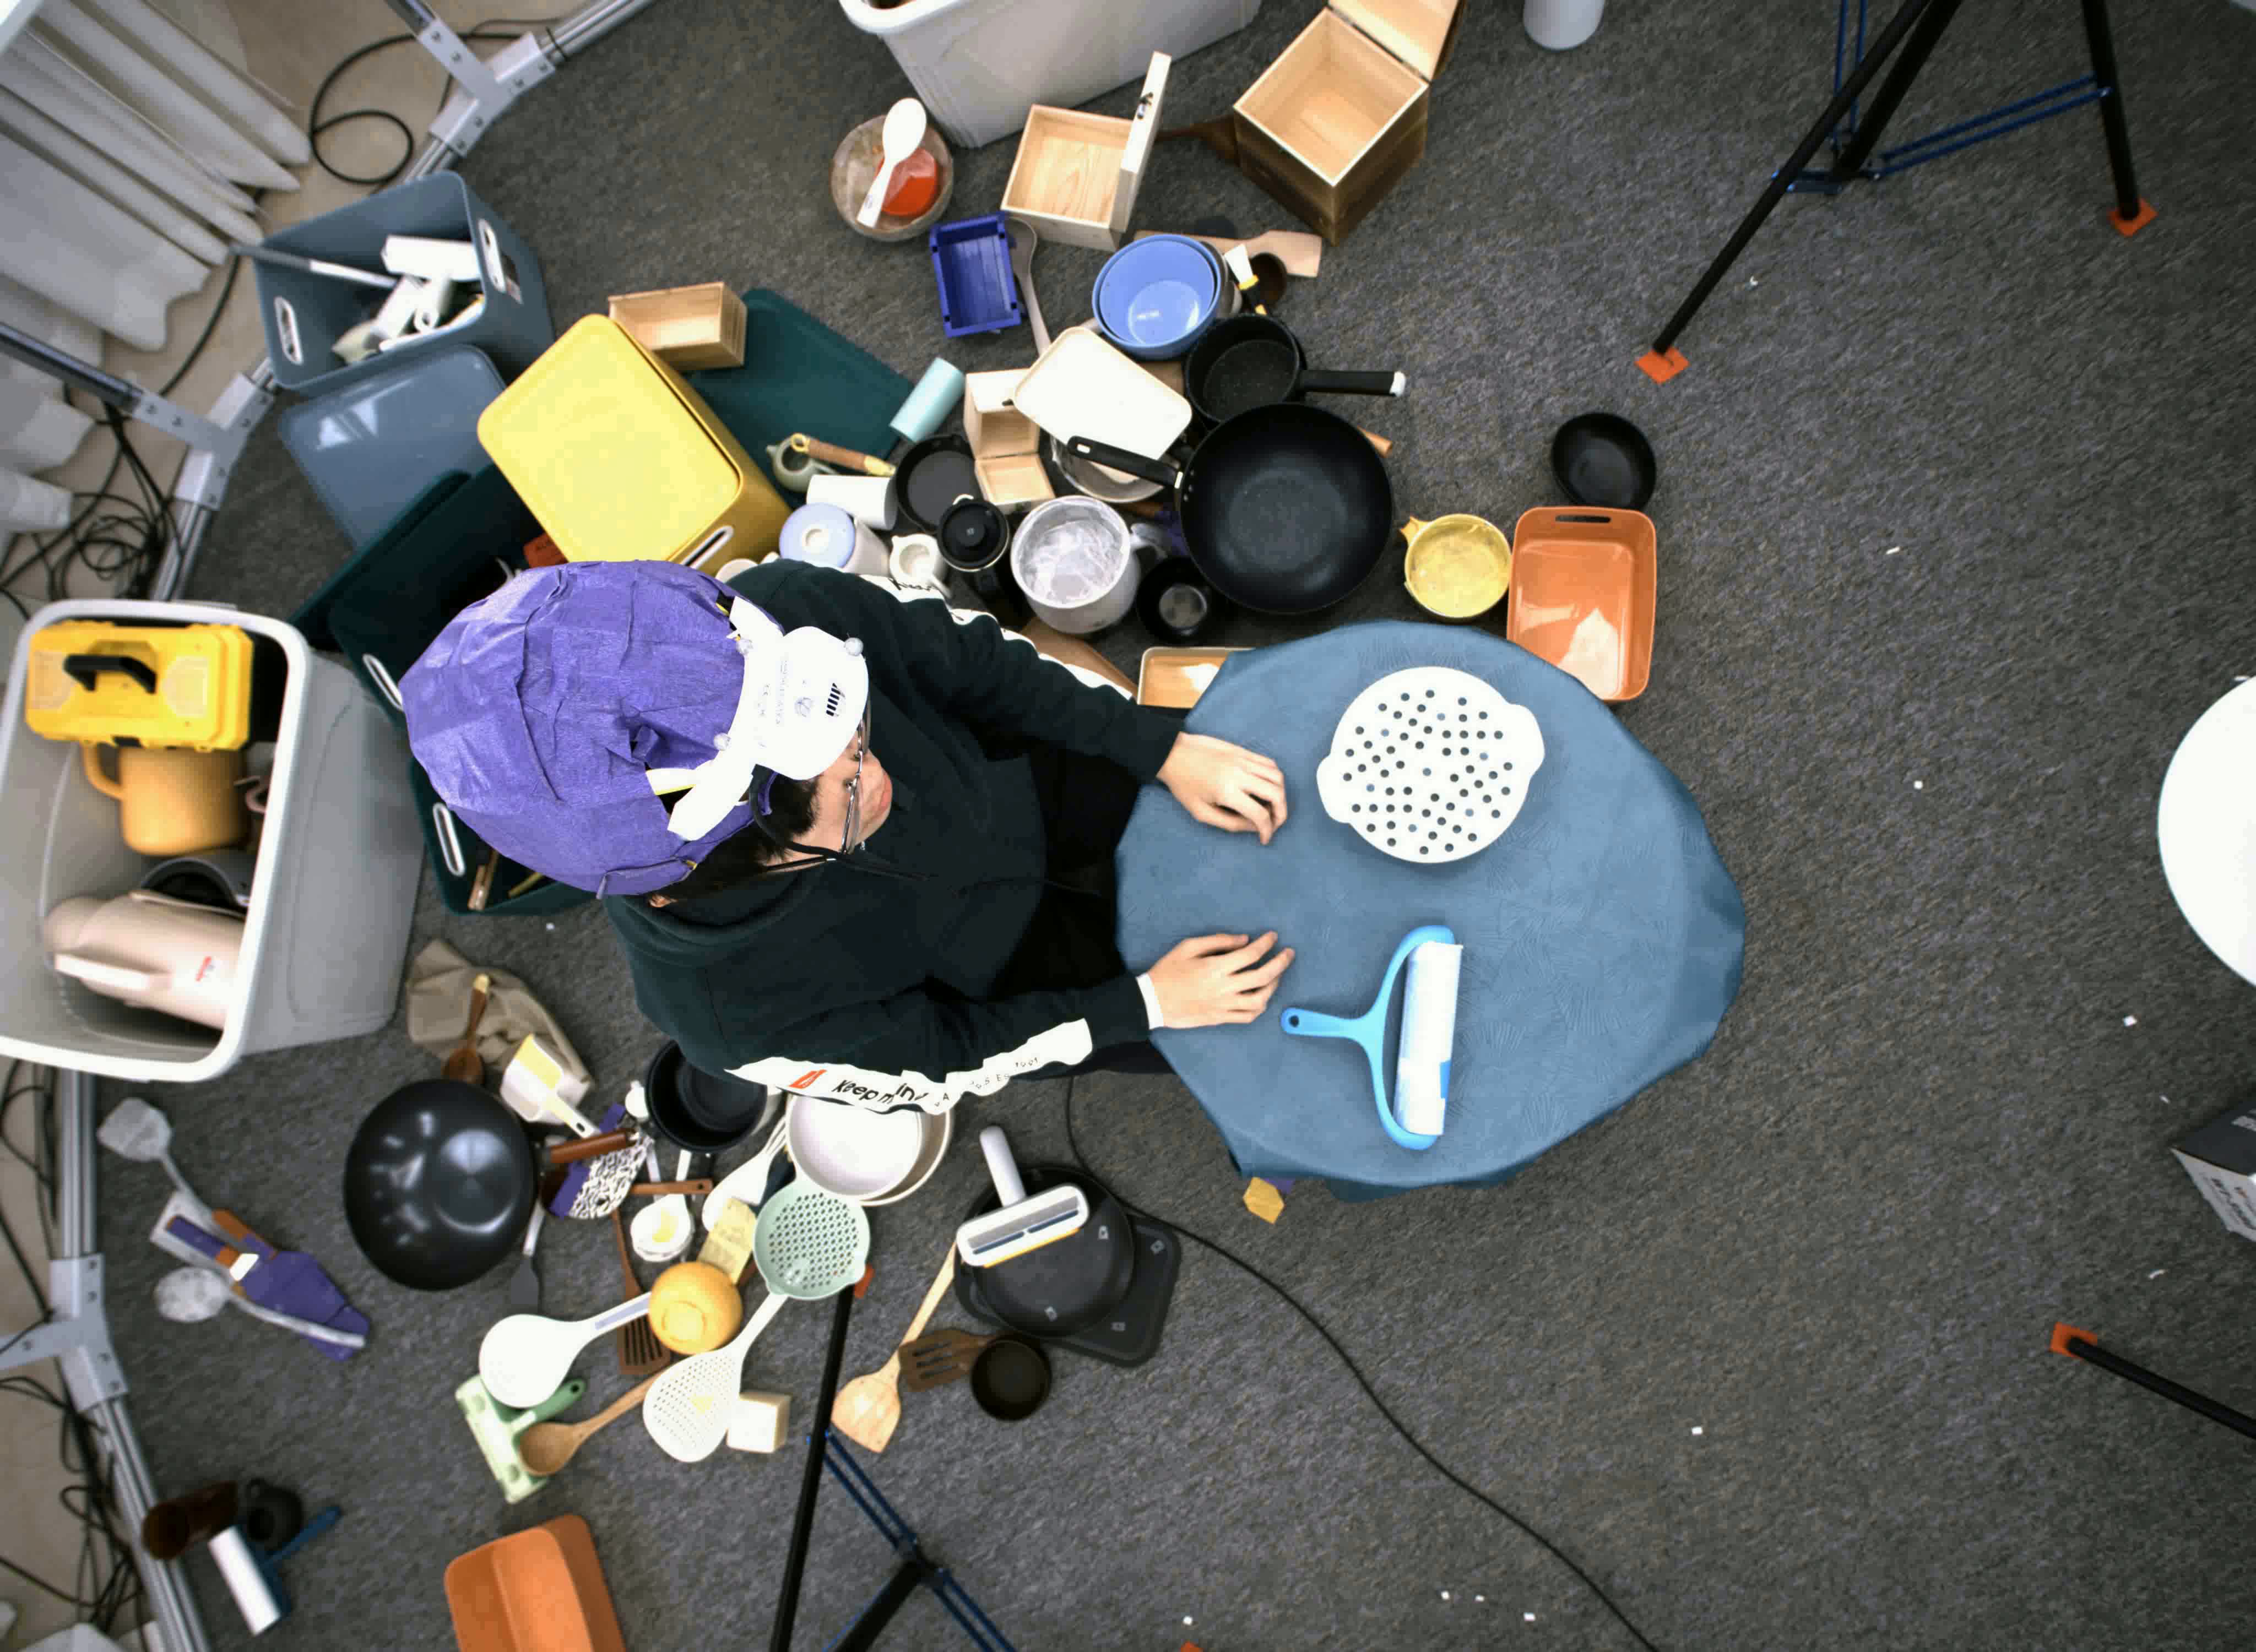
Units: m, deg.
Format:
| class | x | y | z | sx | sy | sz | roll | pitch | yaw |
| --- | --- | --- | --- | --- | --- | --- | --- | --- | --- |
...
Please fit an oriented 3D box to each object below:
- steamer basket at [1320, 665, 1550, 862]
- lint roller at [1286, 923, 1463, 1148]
| class | x | y | z | sx | sy | sz | roll | pitch | yaw |
| --- | --- | --- | --- | --- | --- | --- | --- | --- | --- |
| steamer basket | 0.315 | -0.064 | 1.419 | 0.232 | 0.069 | 0.200 | -16 | 83 | 10 |
| lint roller | 0.252 | 0.212 | 1.424 | 0.181 | 0.068 | 0.228 | 1 | 89 | 9 |
